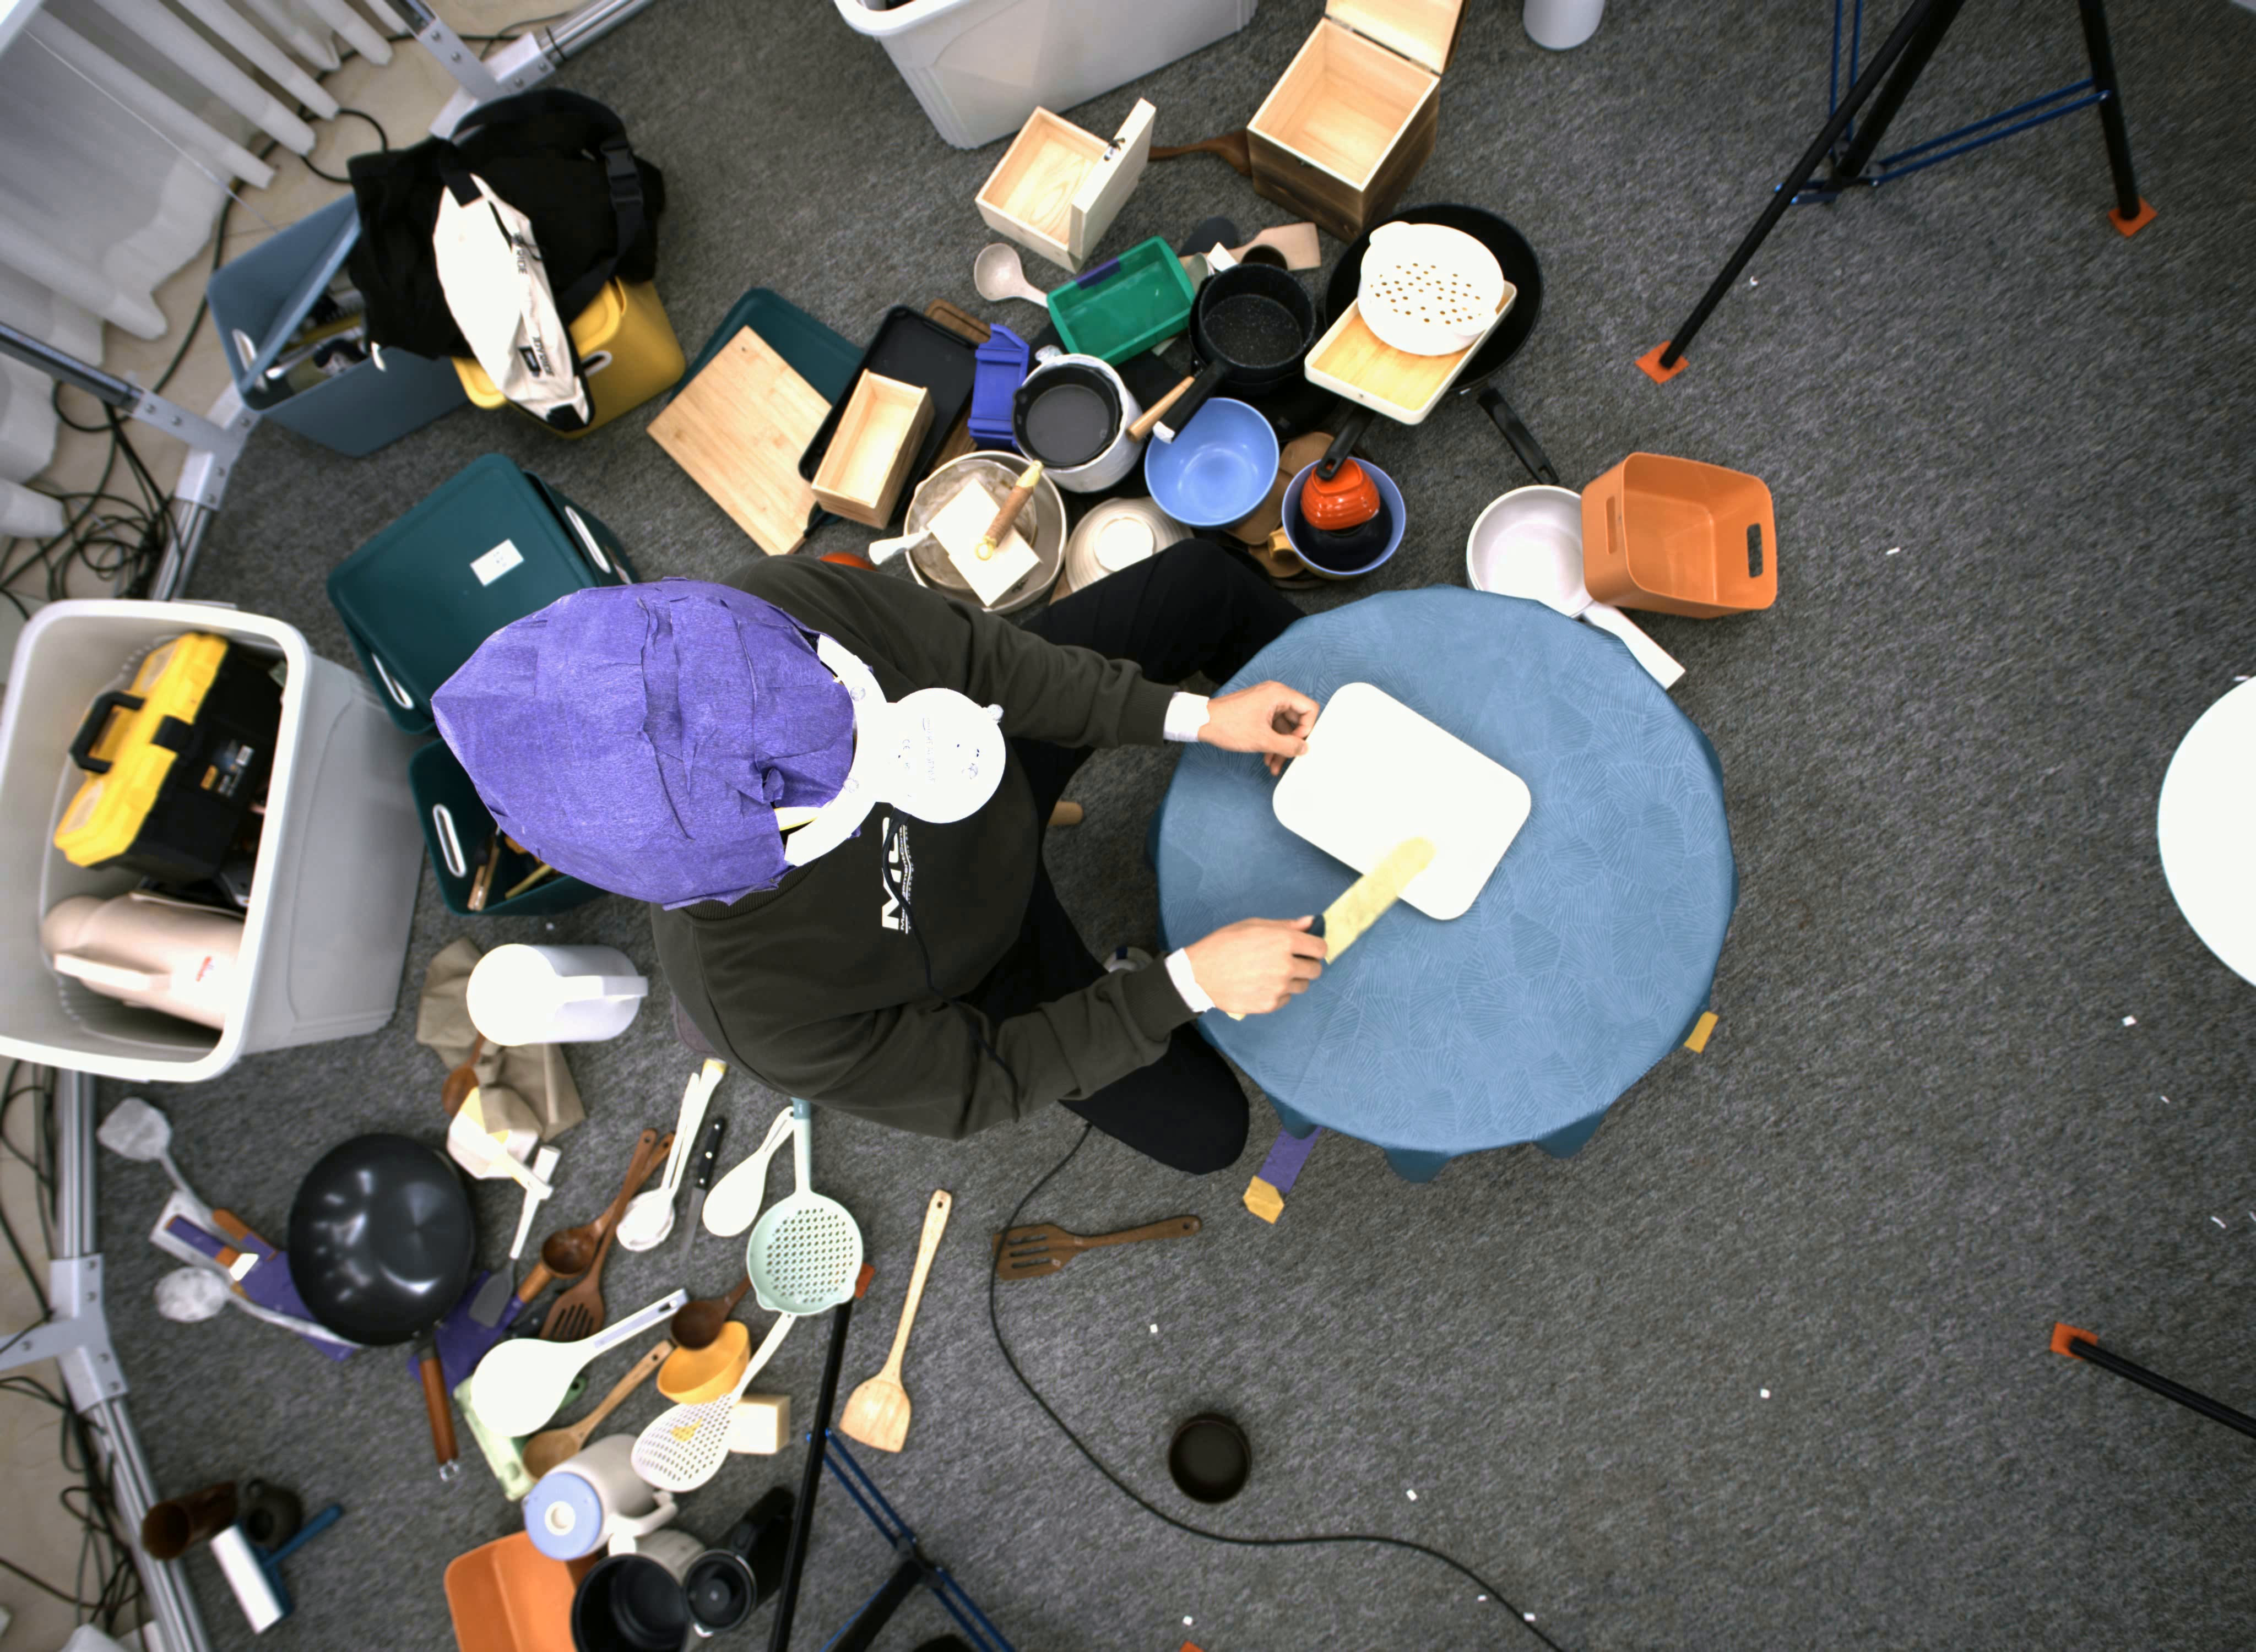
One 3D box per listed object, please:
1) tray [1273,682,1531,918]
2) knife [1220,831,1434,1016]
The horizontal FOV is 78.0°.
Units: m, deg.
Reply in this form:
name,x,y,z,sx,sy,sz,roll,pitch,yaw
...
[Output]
name,x,y,z,sx,sy,sz,roll,pitch,yaw
tray,0.282,-0.027,1.423,0.240,0.017,0.172,31,98,-4
knife,0.205,0.098,1.387,0.287,0.082,0.027,-39,47,-12
